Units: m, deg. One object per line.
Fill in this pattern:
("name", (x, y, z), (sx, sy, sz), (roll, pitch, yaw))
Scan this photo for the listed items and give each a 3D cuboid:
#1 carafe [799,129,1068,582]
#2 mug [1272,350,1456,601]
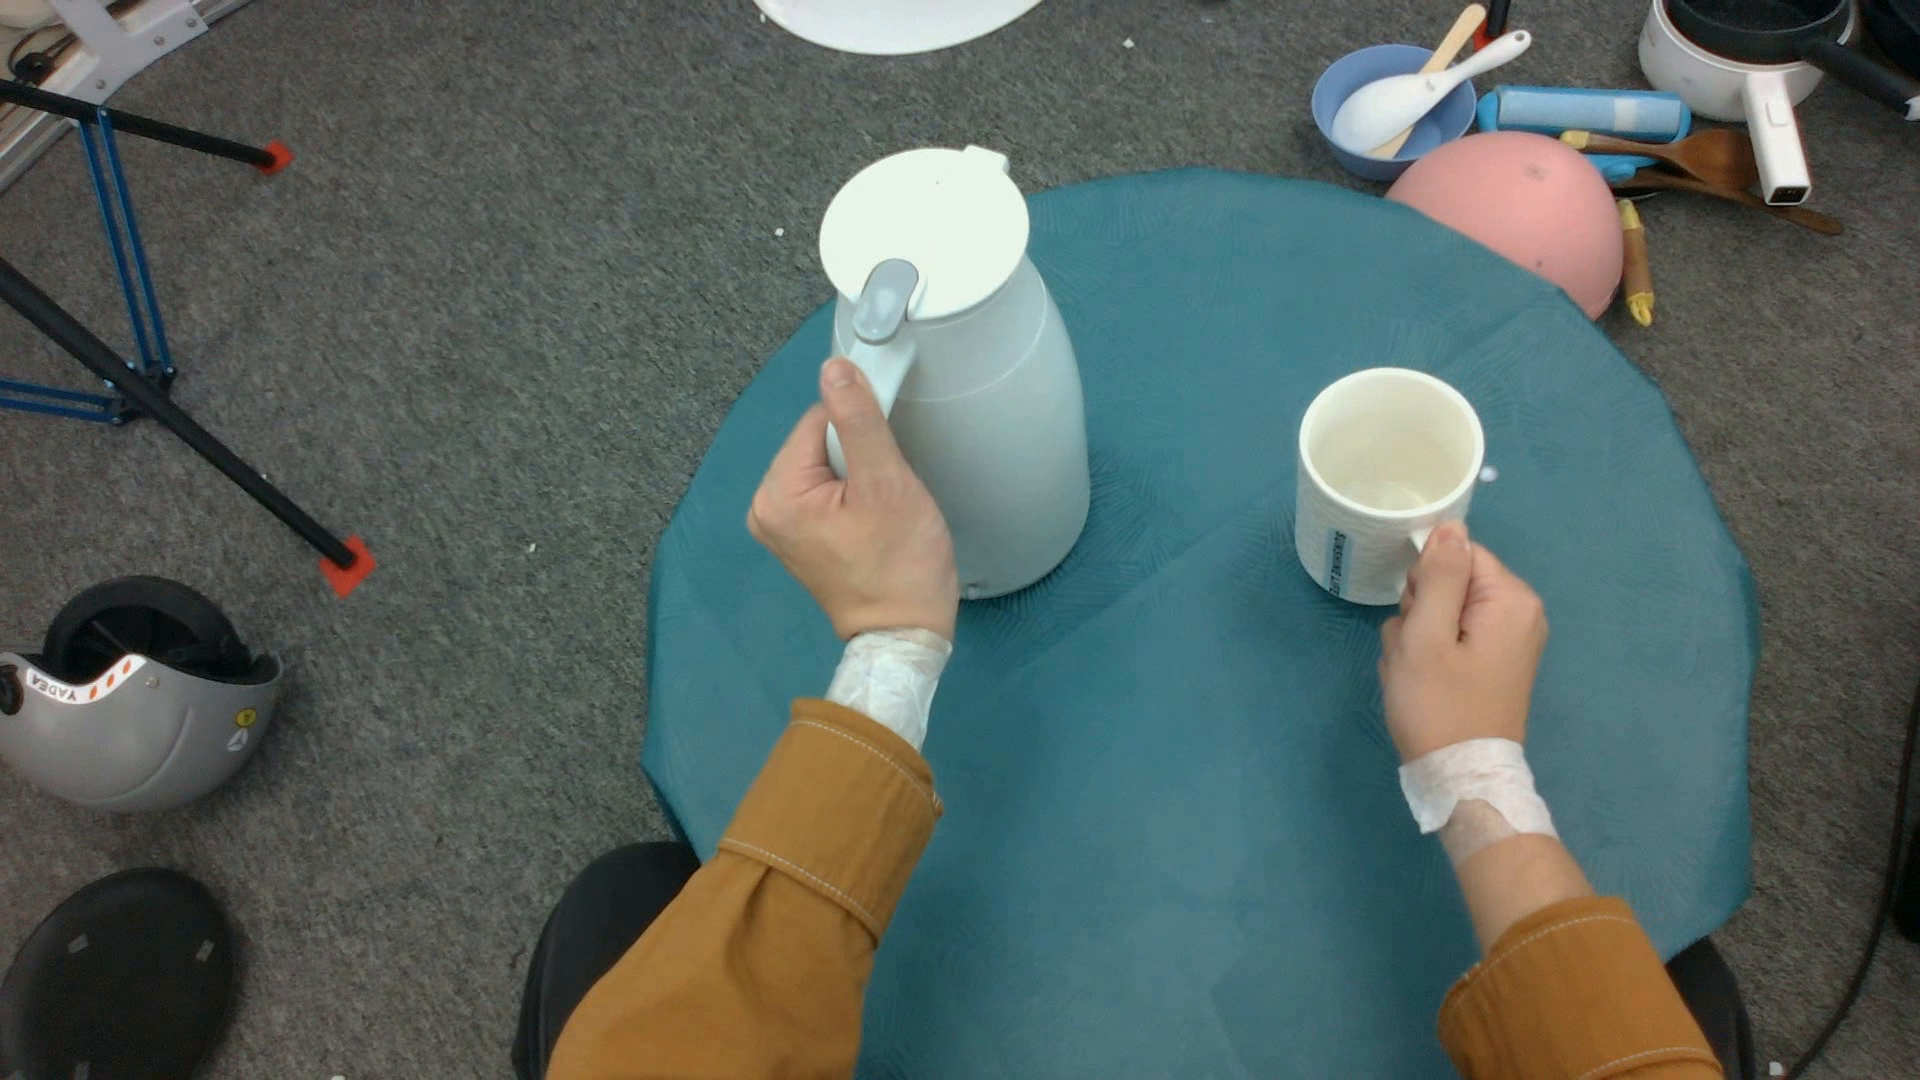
("carafe", (-0.021, -0.073, 0.688), (0.132, 0.248, 0.168), (19, 67, 14))
("mug", (0.211, -0.022, 0.709), (0.085, 0.101, 0.118), (-20, 59, -1))
